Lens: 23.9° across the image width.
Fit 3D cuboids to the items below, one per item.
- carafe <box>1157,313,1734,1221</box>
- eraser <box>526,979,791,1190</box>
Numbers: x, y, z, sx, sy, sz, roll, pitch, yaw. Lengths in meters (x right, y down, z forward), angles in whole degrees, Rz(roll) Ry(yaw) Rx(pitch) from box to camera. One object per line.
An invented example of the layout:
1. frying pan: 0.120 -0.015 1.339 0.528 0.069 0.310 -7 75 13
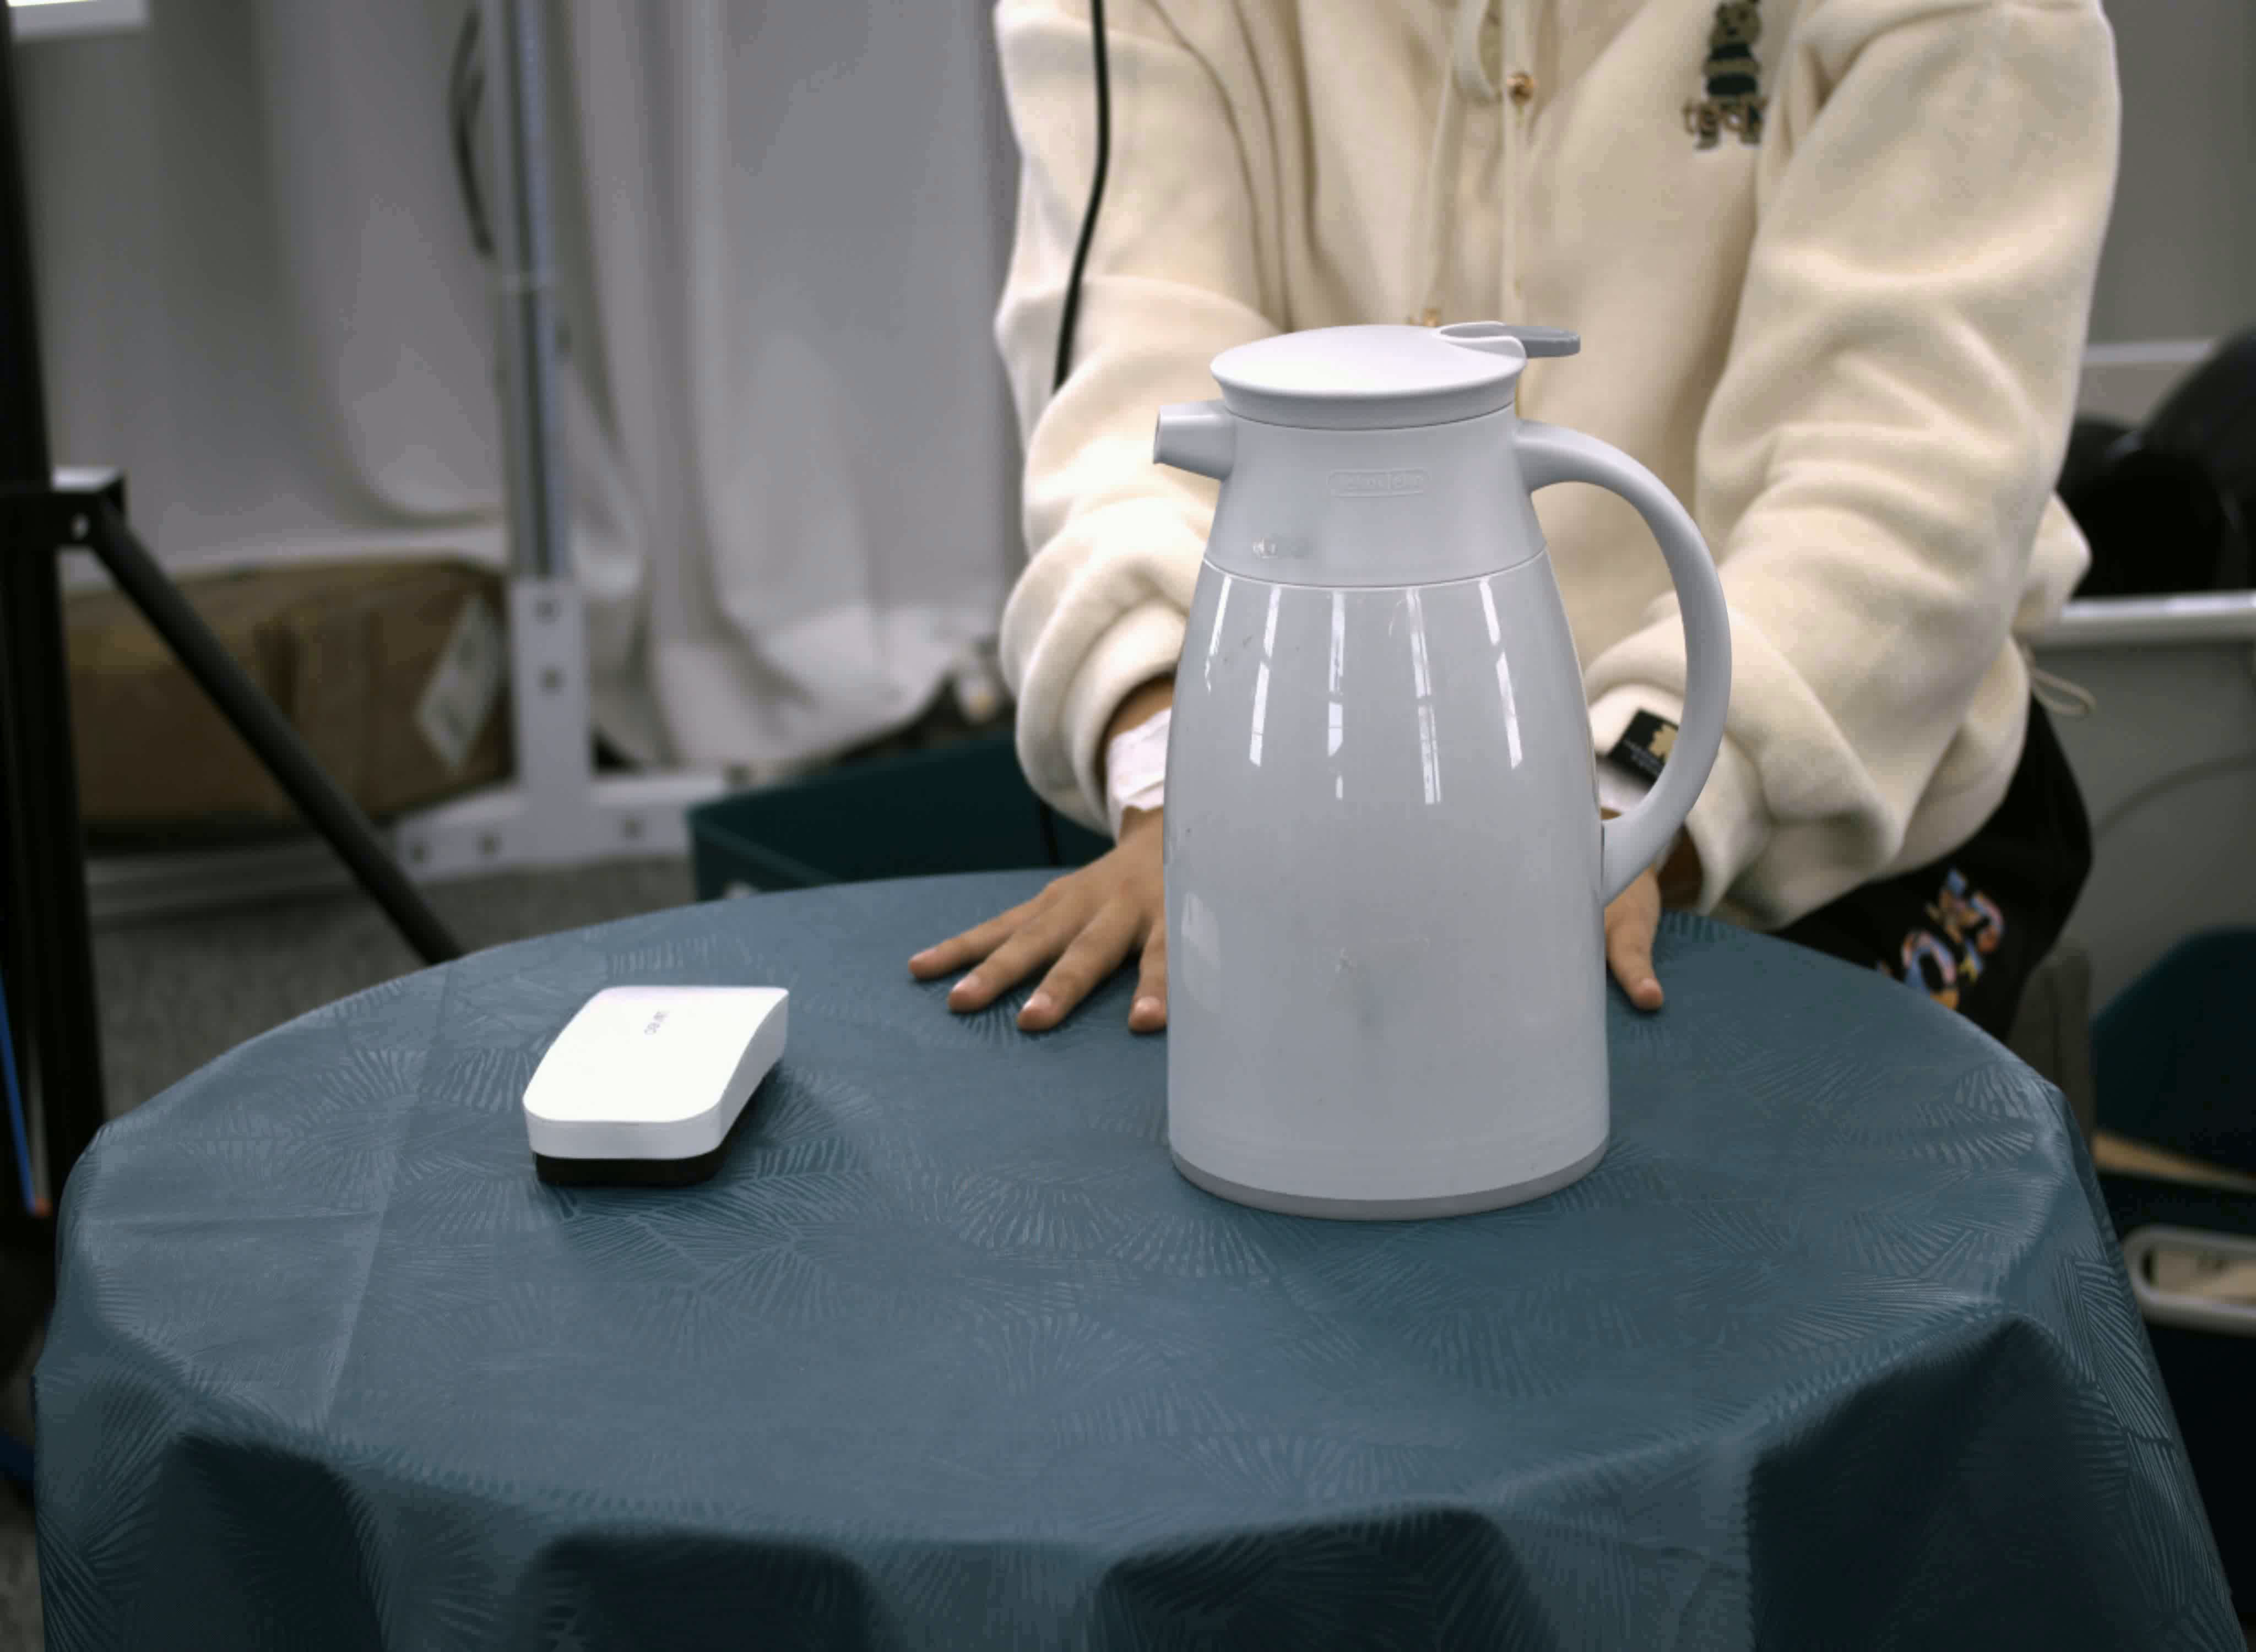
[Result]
1. carafe: 0.093 -0.024 1.554 0.167 0.248 0.133 -2 15 0
2. eraser: -0.142 0.075 1.639 0.063 0.034 0.131 2 17 9
